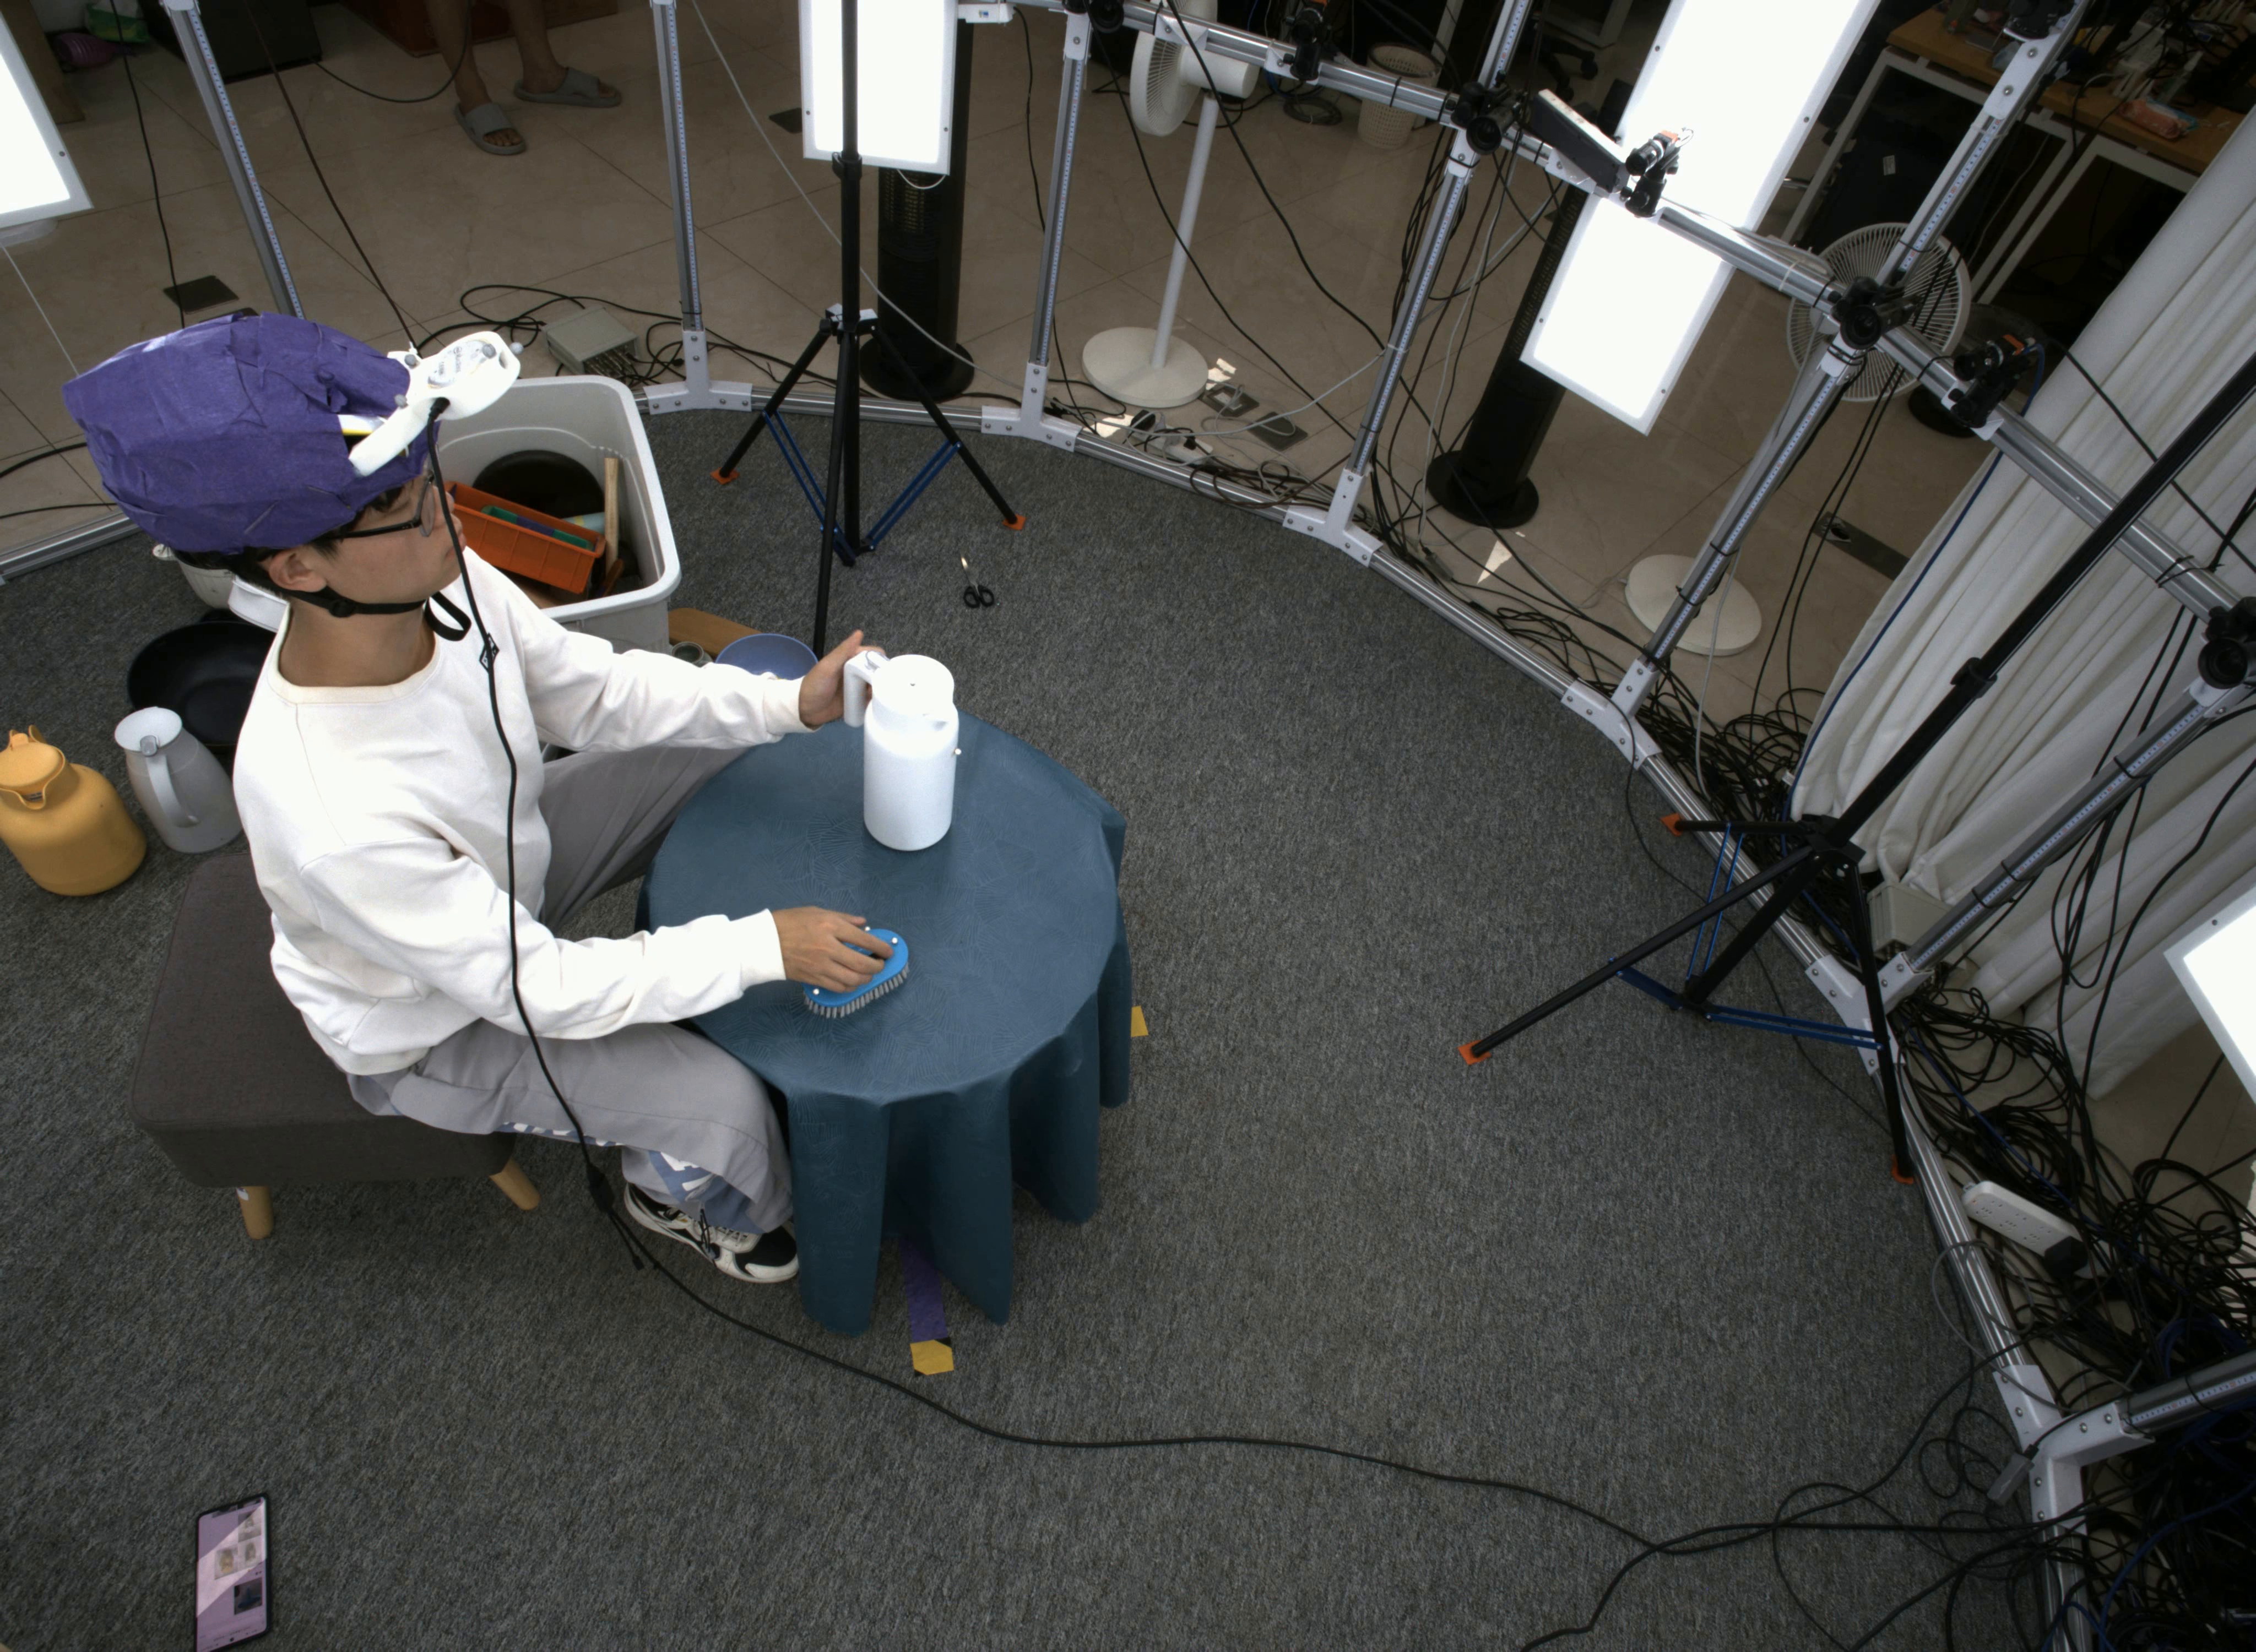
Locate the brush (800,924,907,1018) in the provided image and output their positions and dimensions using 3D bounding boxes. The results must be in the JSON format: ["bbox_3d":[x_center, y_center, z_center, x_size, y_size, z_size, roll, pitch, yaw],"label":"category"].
[{"bbox_3d":[-0.333,0.169,1.588,0.142,0.065,0.083,-29,68,-29],"label":"brush"}]

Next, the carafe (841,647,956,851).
[{"bbox_3d":[-0.296,-0.102,1.670,0.169,0.275,0.124,33,56,15],"label":"carafe"}]
